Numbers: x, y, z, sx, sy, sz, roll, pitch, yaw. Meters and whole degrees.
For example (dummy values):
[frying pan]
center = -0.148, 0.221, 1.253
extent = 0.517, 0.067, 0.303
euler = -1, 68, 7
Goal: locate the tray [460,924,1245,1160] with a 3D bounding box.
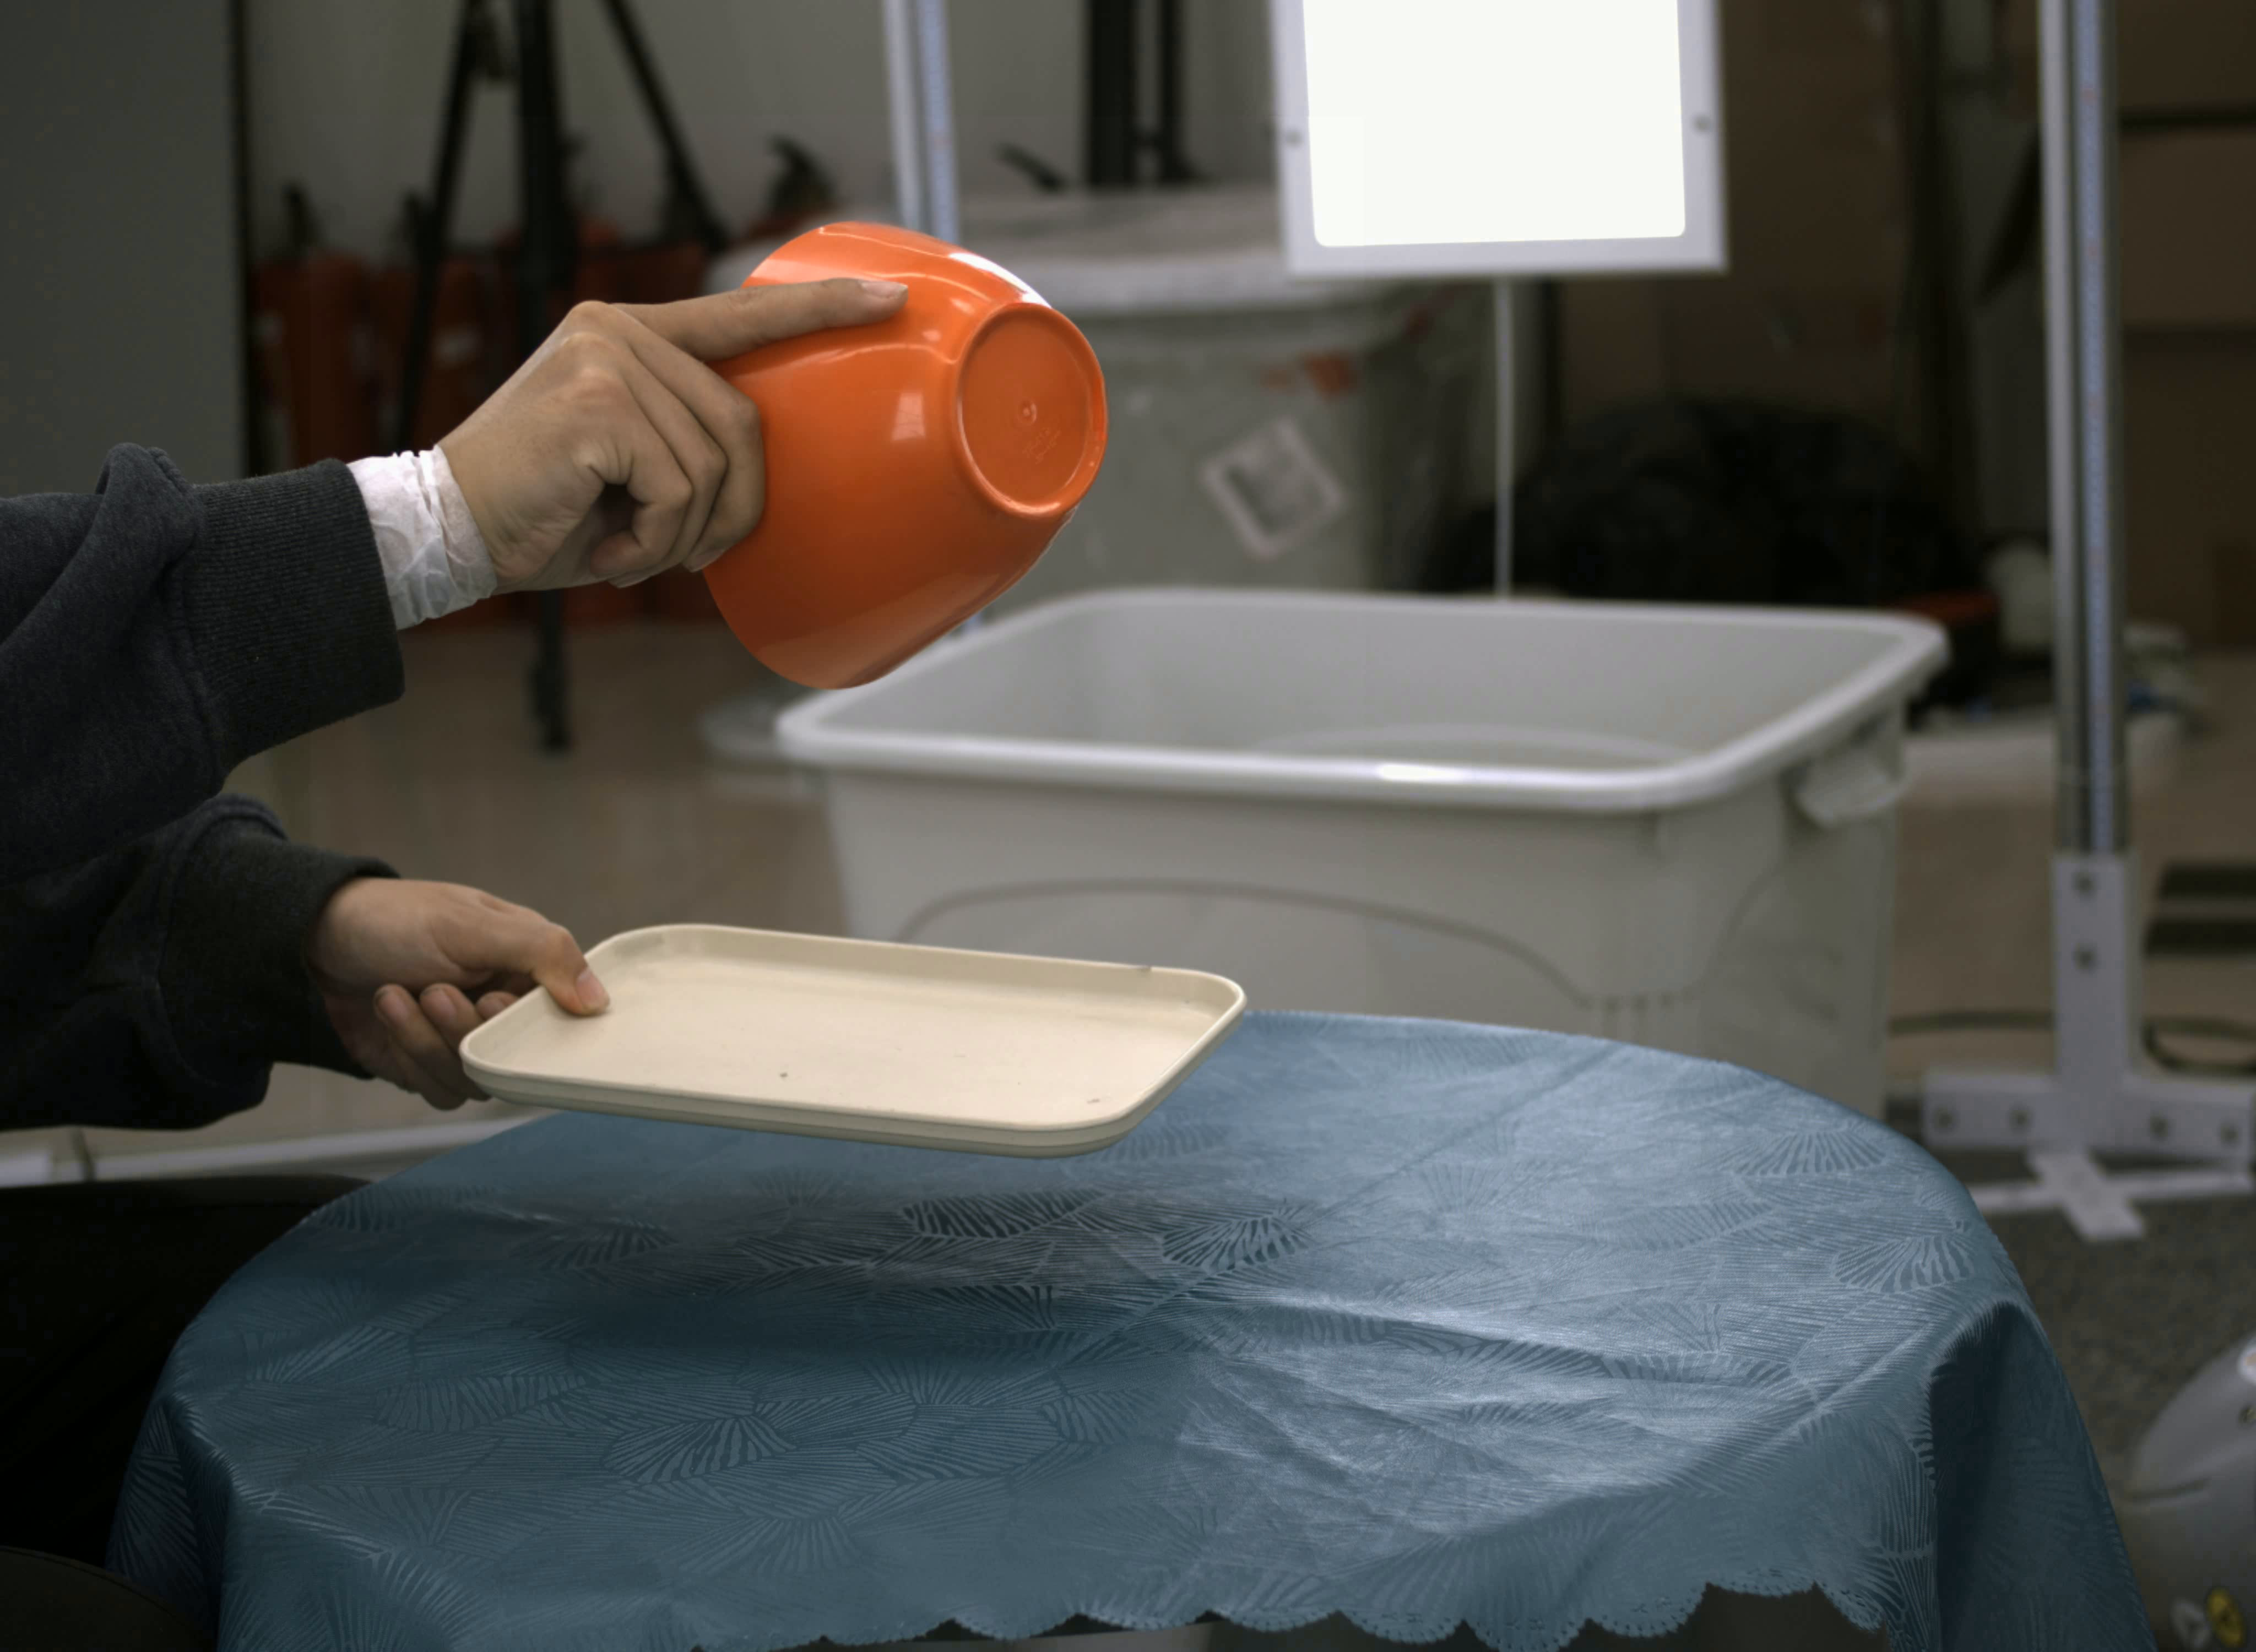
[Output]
[tray]
center = -0.091, 0.072, 1.852
extent = 0.243, 0.017, 0.168
euler = 5, 18, 20

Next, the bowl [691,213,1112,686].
[bowl]
center = -0.058, -0.120, 1.706
extent = 0.144, 0.148, 0.107
euler = -17, 11, -43
